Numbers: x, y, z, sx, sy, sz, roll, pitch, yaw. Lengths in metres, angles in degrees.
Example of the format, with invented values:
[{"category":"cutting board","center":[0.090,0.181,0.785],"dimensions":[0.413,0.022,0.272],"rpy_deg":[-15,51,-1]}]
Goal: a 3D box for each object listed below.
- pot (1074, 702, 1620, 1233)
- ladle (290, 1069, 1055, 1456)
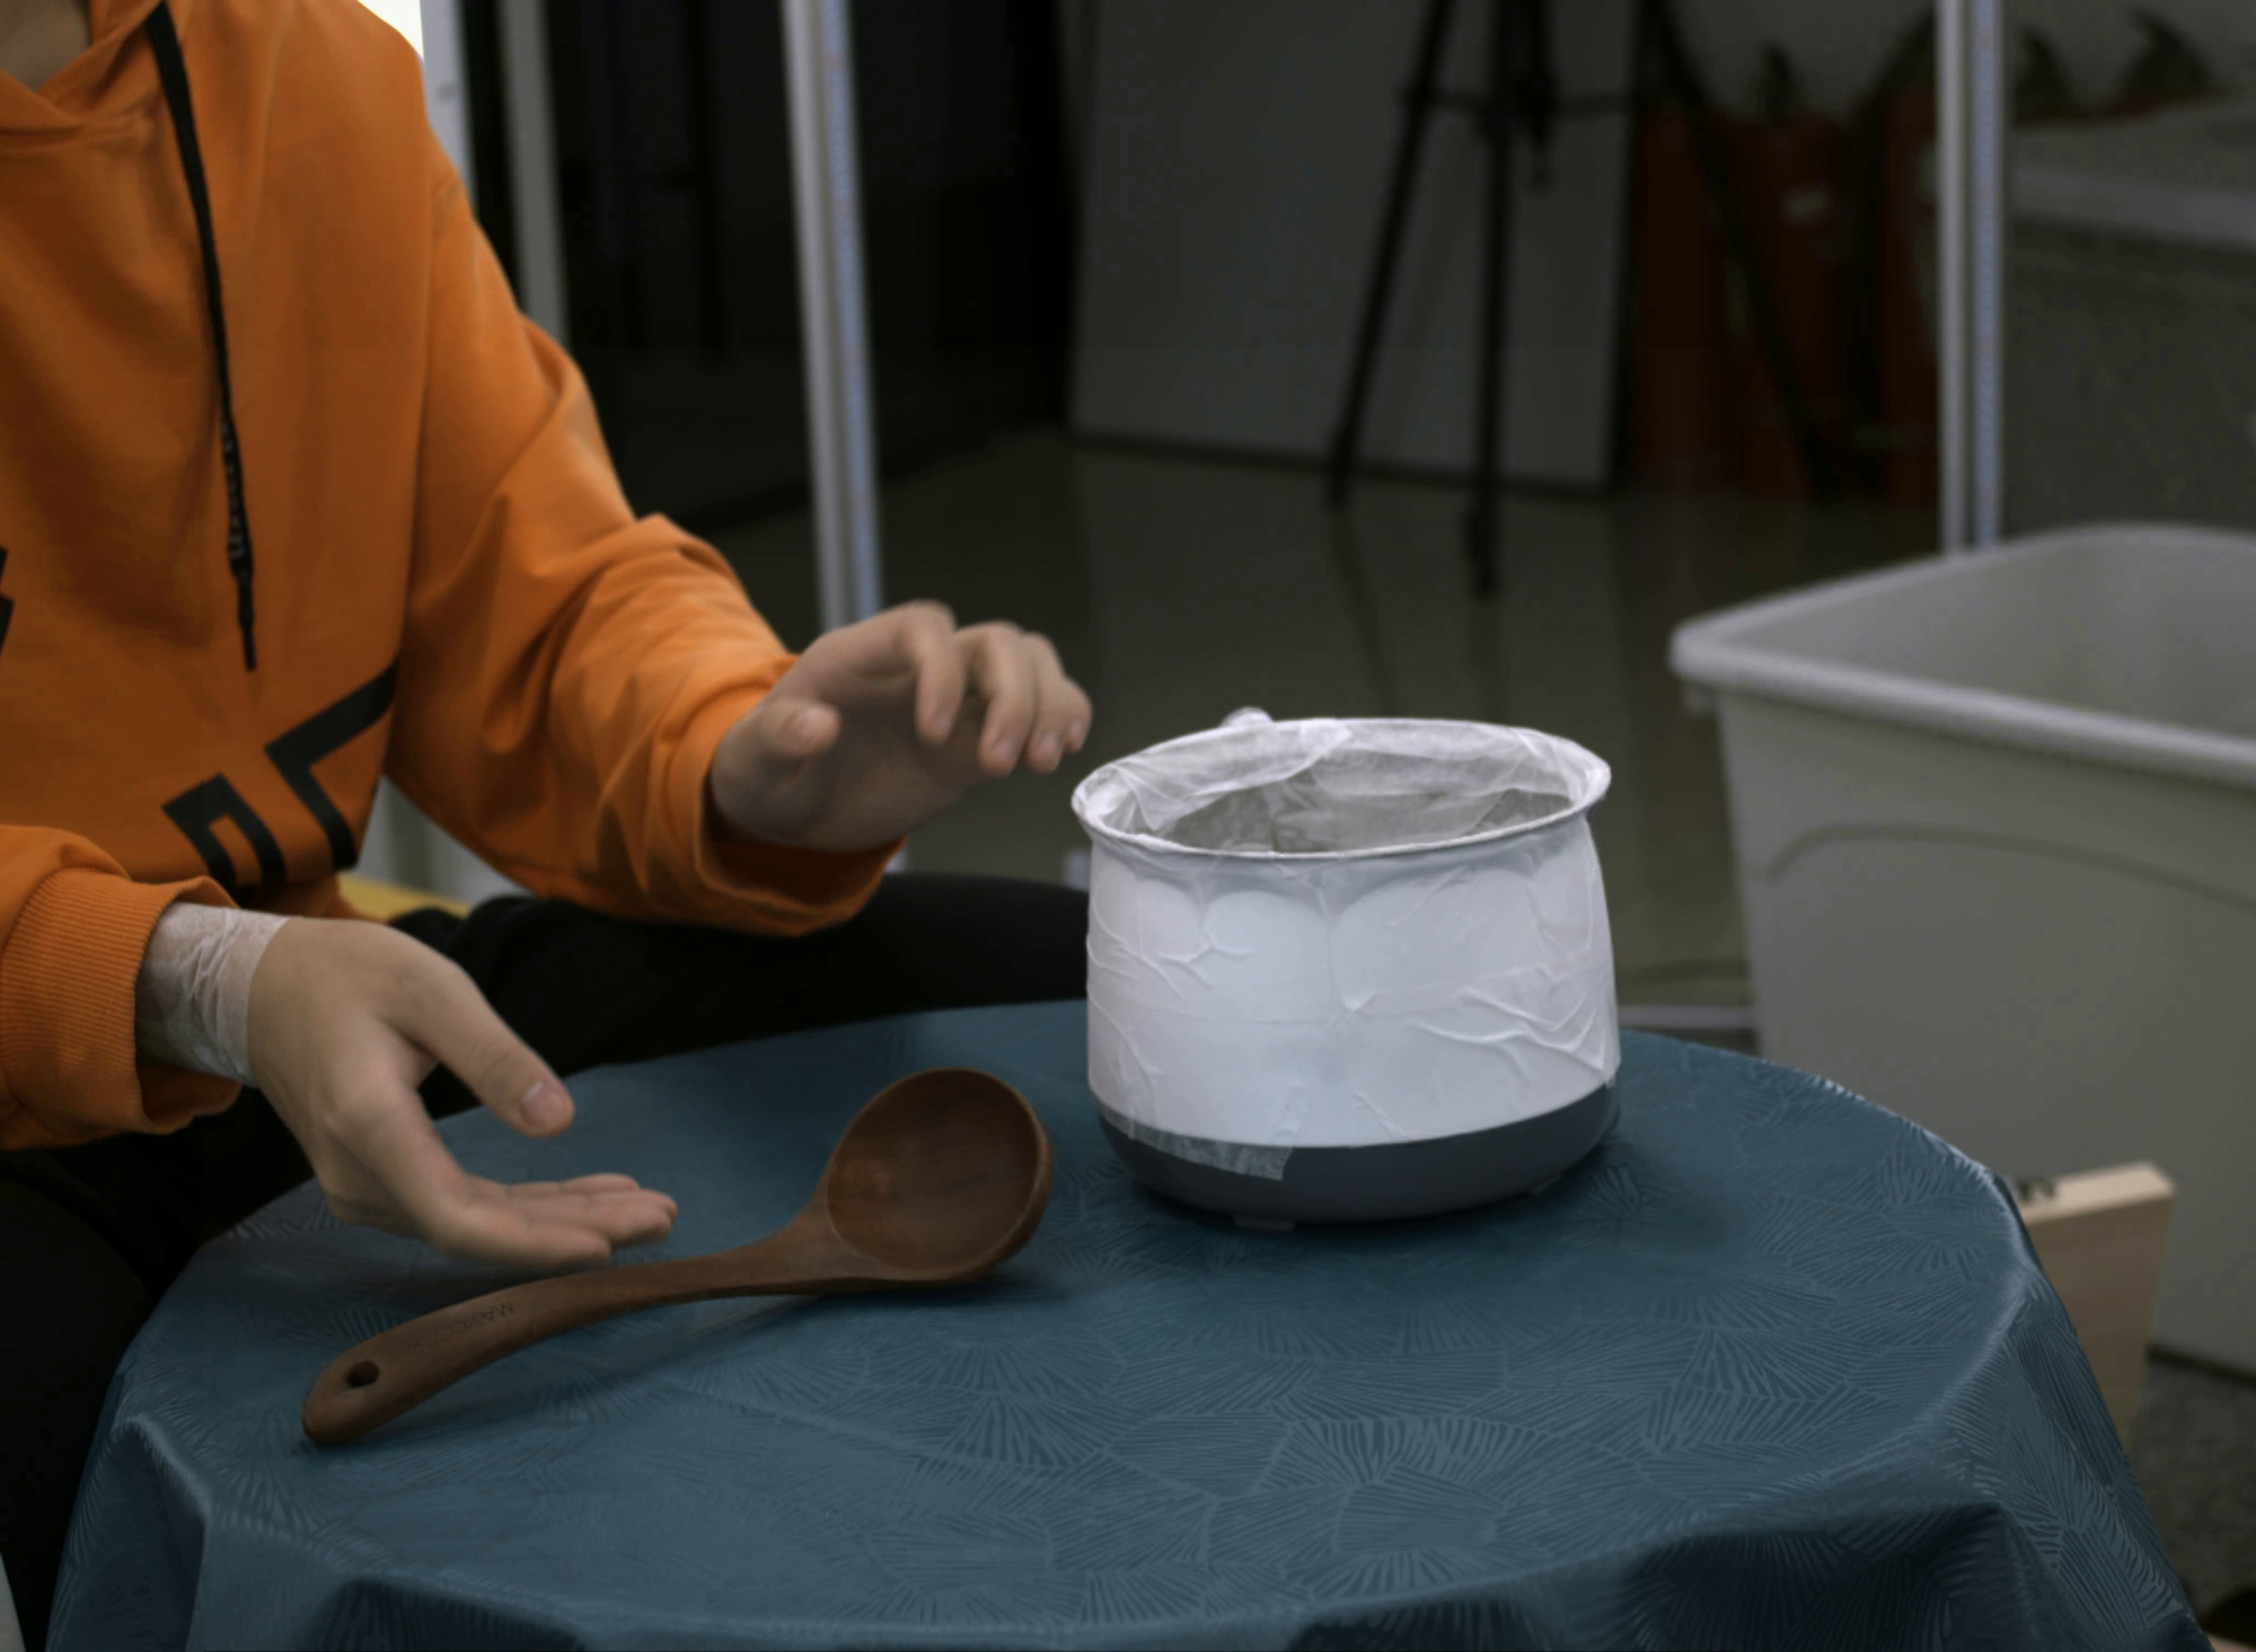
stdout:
[{"category":"pot","center":[0.064,0.040,1.789],"dimensions":[0.175,0.138,0.235],"rpy_deg":[-7,14,-16]},{"category":"ladle","center":[-0.135,0.132,1.640],"dimensions":[0.254,0.066,0.077],"rpy_deg":[-13,41,-34]}]
